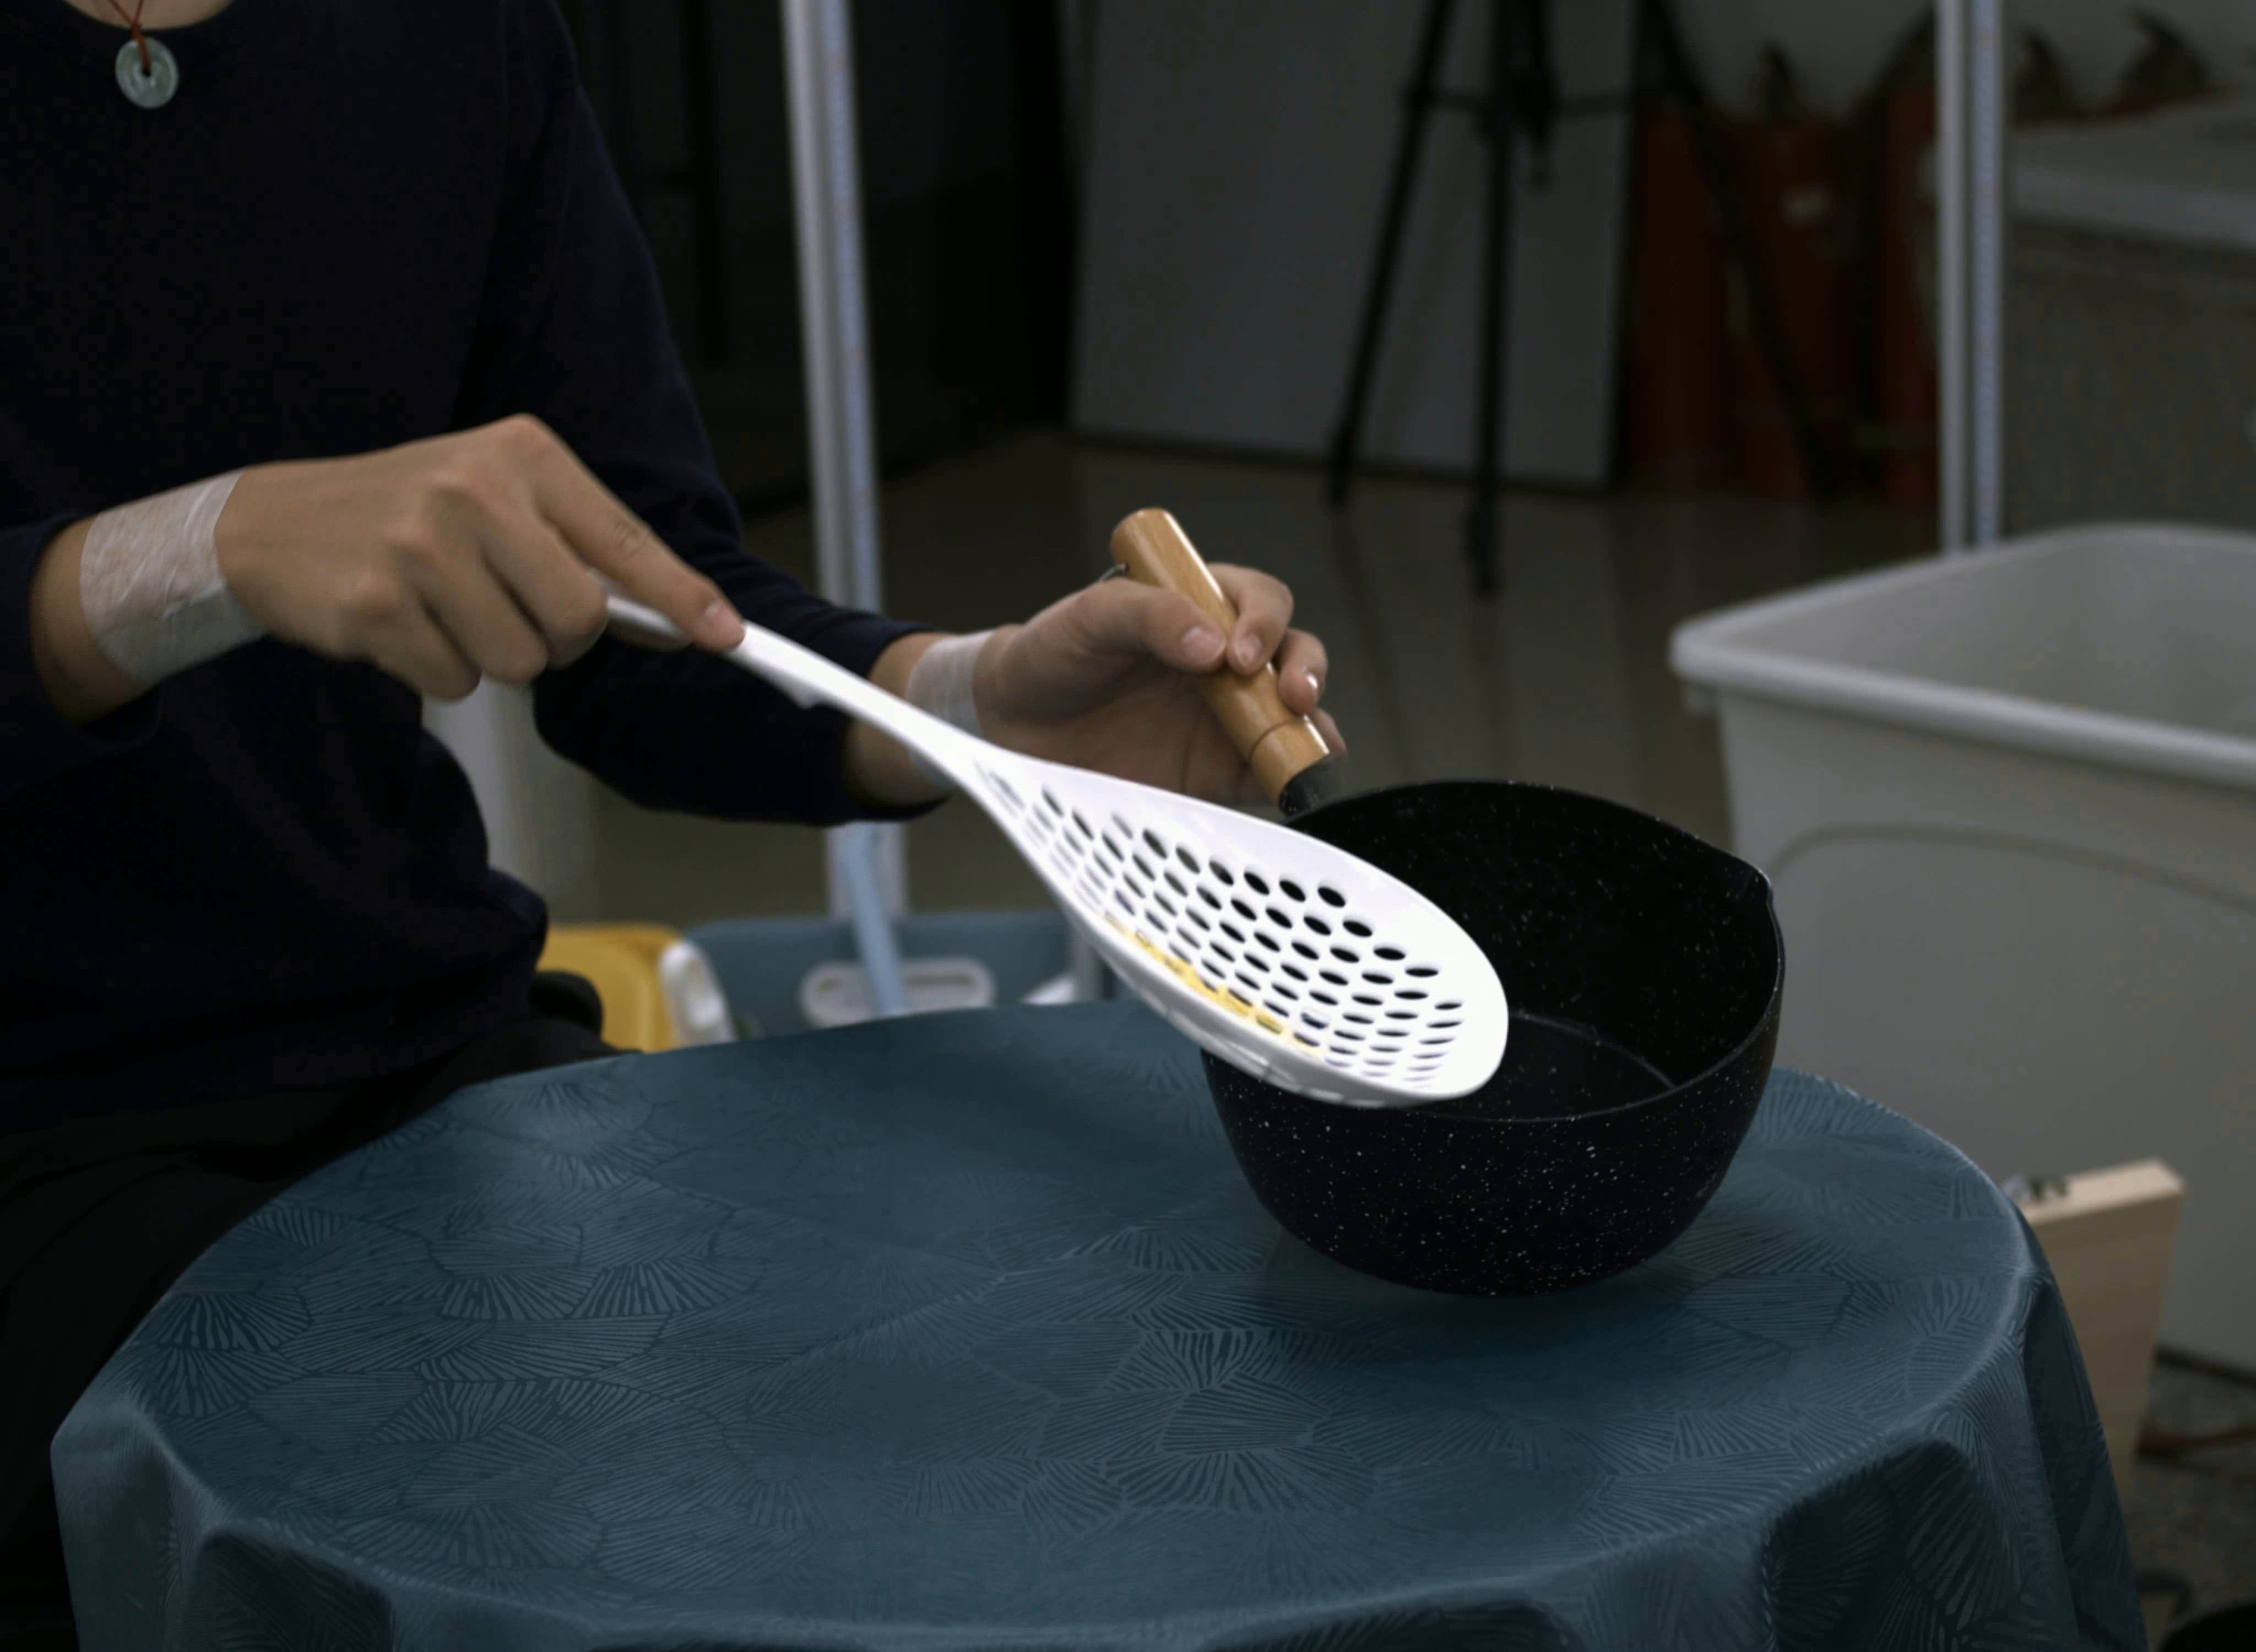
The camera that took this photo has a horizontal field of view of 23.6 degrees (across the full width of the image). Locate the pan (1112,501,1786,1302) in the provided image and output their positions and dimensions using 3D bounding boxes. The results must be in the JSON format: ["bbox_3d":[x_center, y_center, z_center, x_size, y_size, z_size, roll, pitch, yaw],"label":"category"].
[{"bbox_3d":[0.075,0.020,1.738,0.203,0.109,0.347,-16,37,-21],"label":"pan"}]

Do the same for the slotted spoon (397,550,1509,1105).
[{"bbox_3d":[-0.050,-0.009,1.558,0.345,0.051,0.136,31,27,0],"label":"slotted spoon"}]
